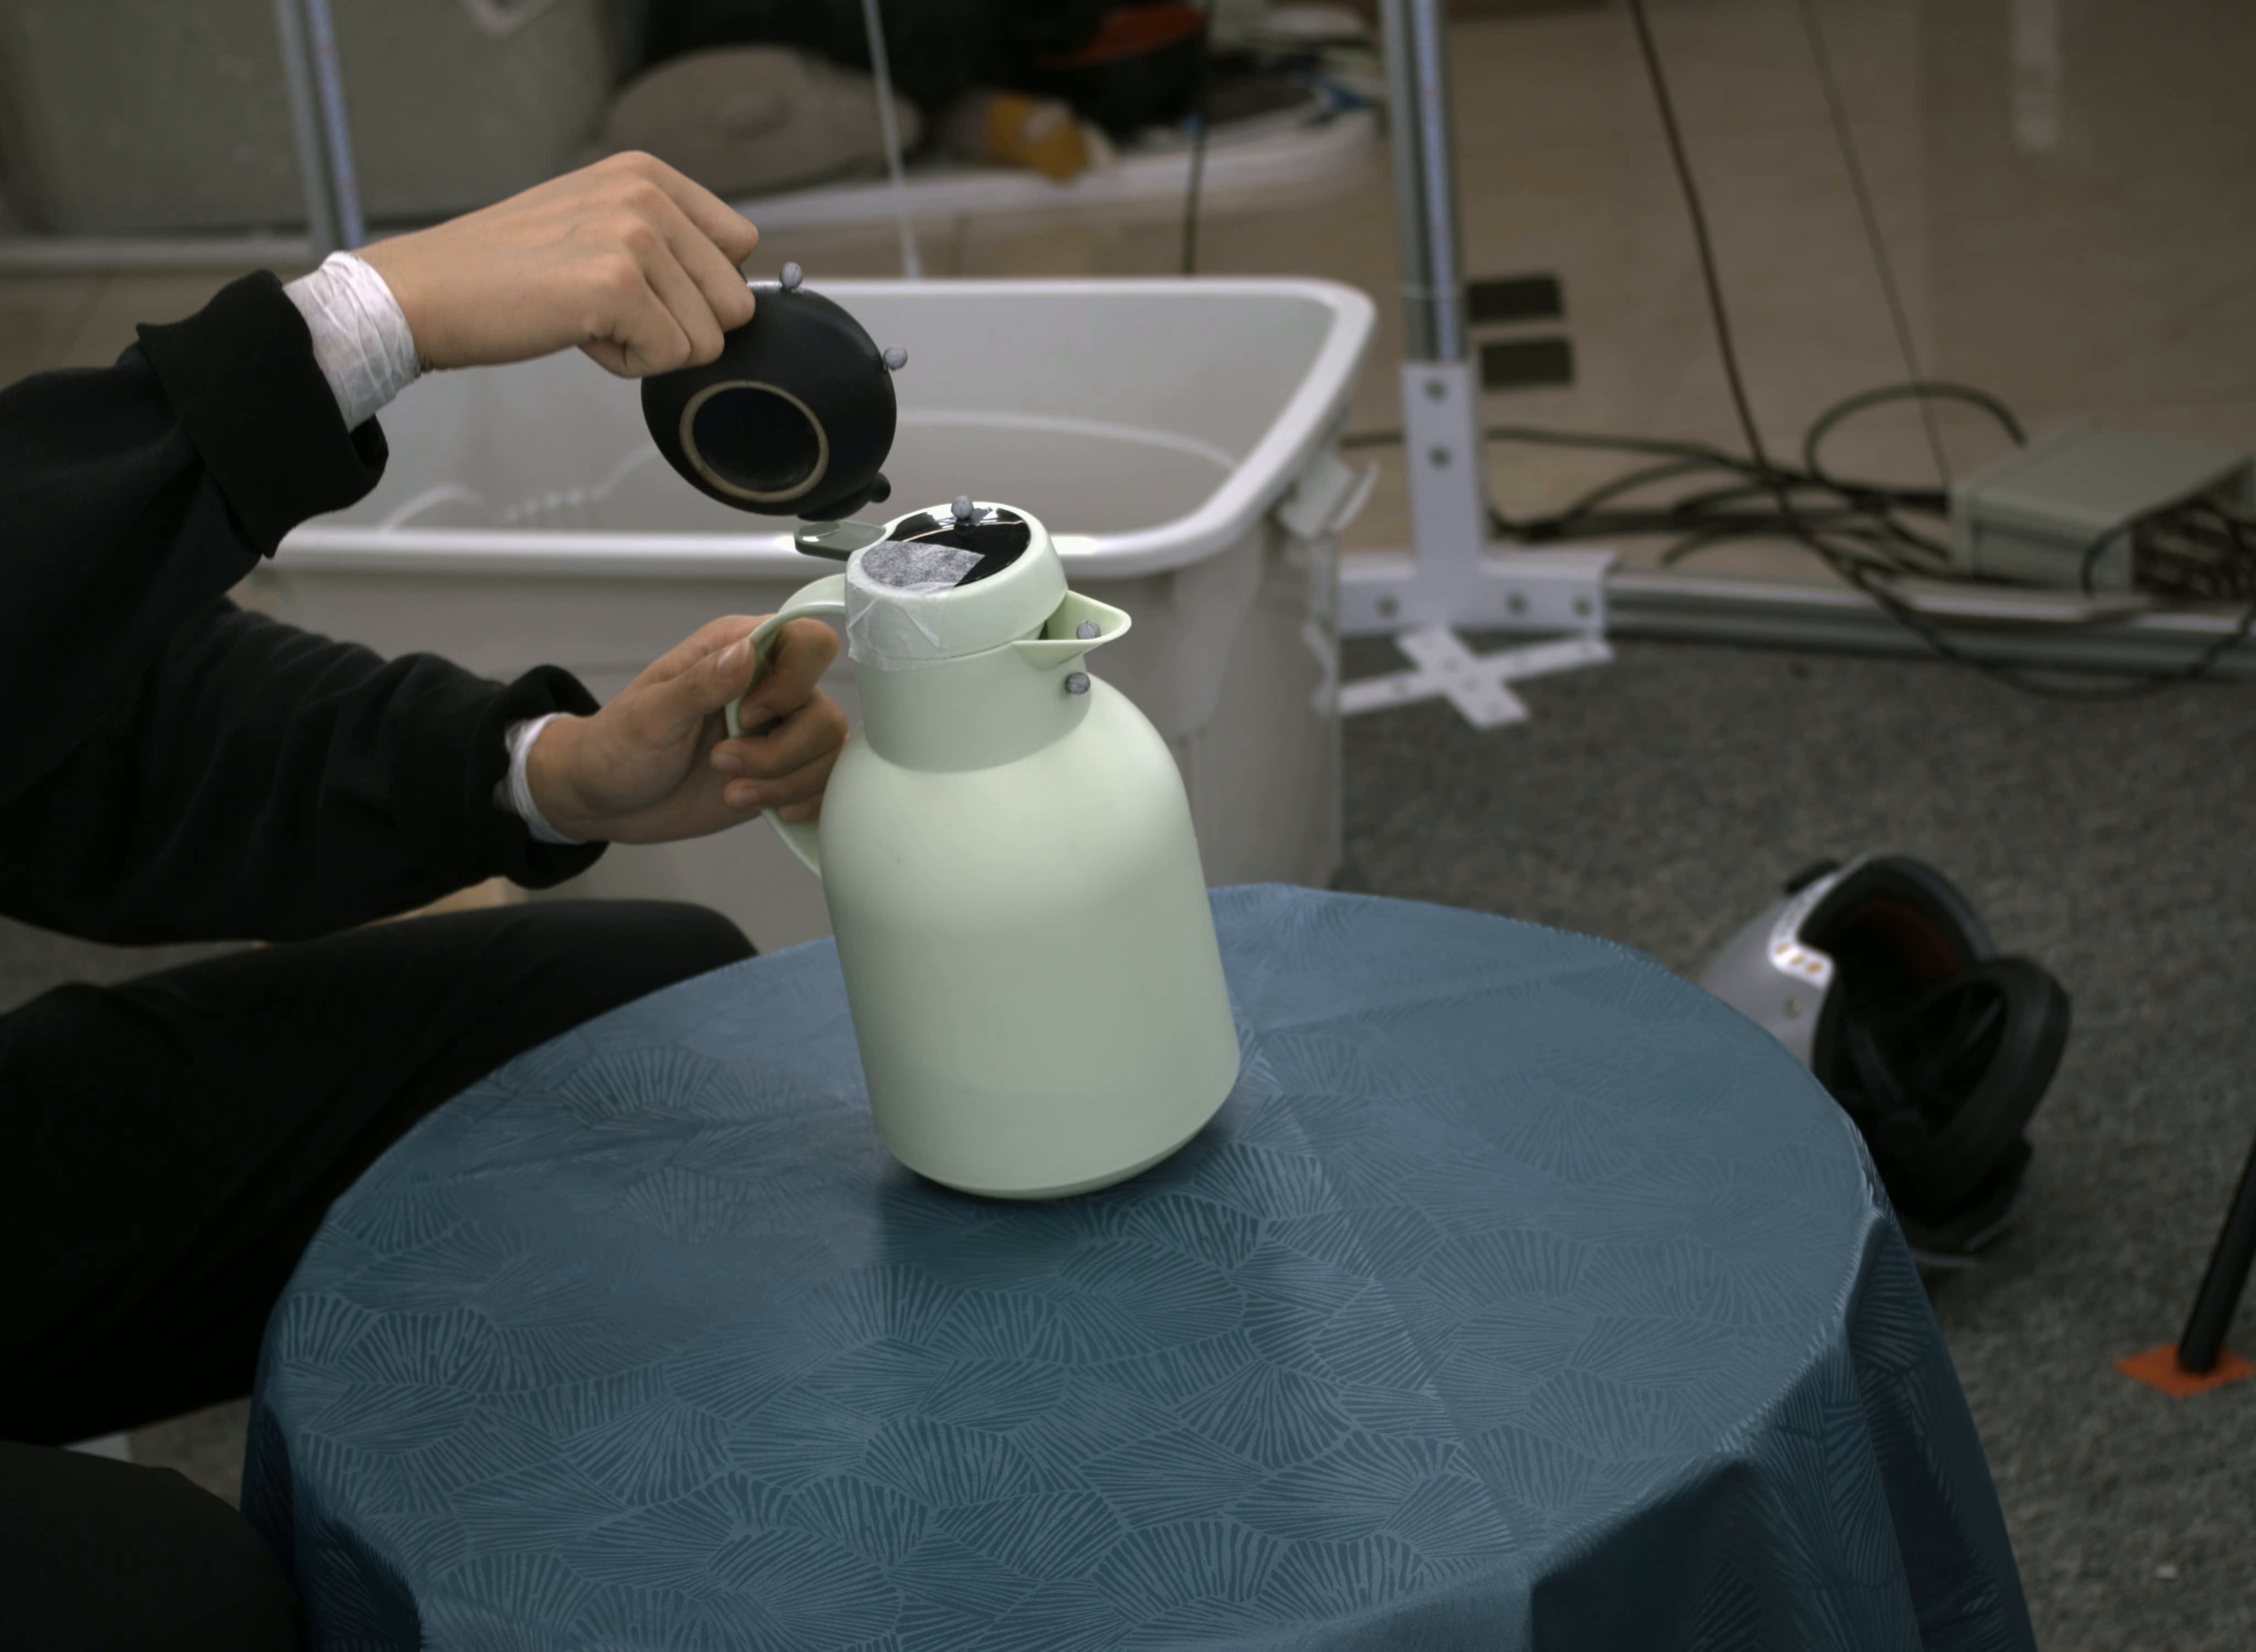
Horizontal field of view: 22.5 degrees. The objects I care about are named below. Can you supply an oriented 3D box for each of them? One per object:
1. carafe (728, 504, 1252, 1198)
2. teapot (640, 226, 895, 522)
[{"bbox_3d":[-0.057,0.003,2.142,0.186,0.261,0.142,6,37,32],"label":"carafe"},{"bbox_3d":[-0.126,-0.151,1.983,0.091,0.135,0.052,-17,34,26],"label":"teapot"}]
